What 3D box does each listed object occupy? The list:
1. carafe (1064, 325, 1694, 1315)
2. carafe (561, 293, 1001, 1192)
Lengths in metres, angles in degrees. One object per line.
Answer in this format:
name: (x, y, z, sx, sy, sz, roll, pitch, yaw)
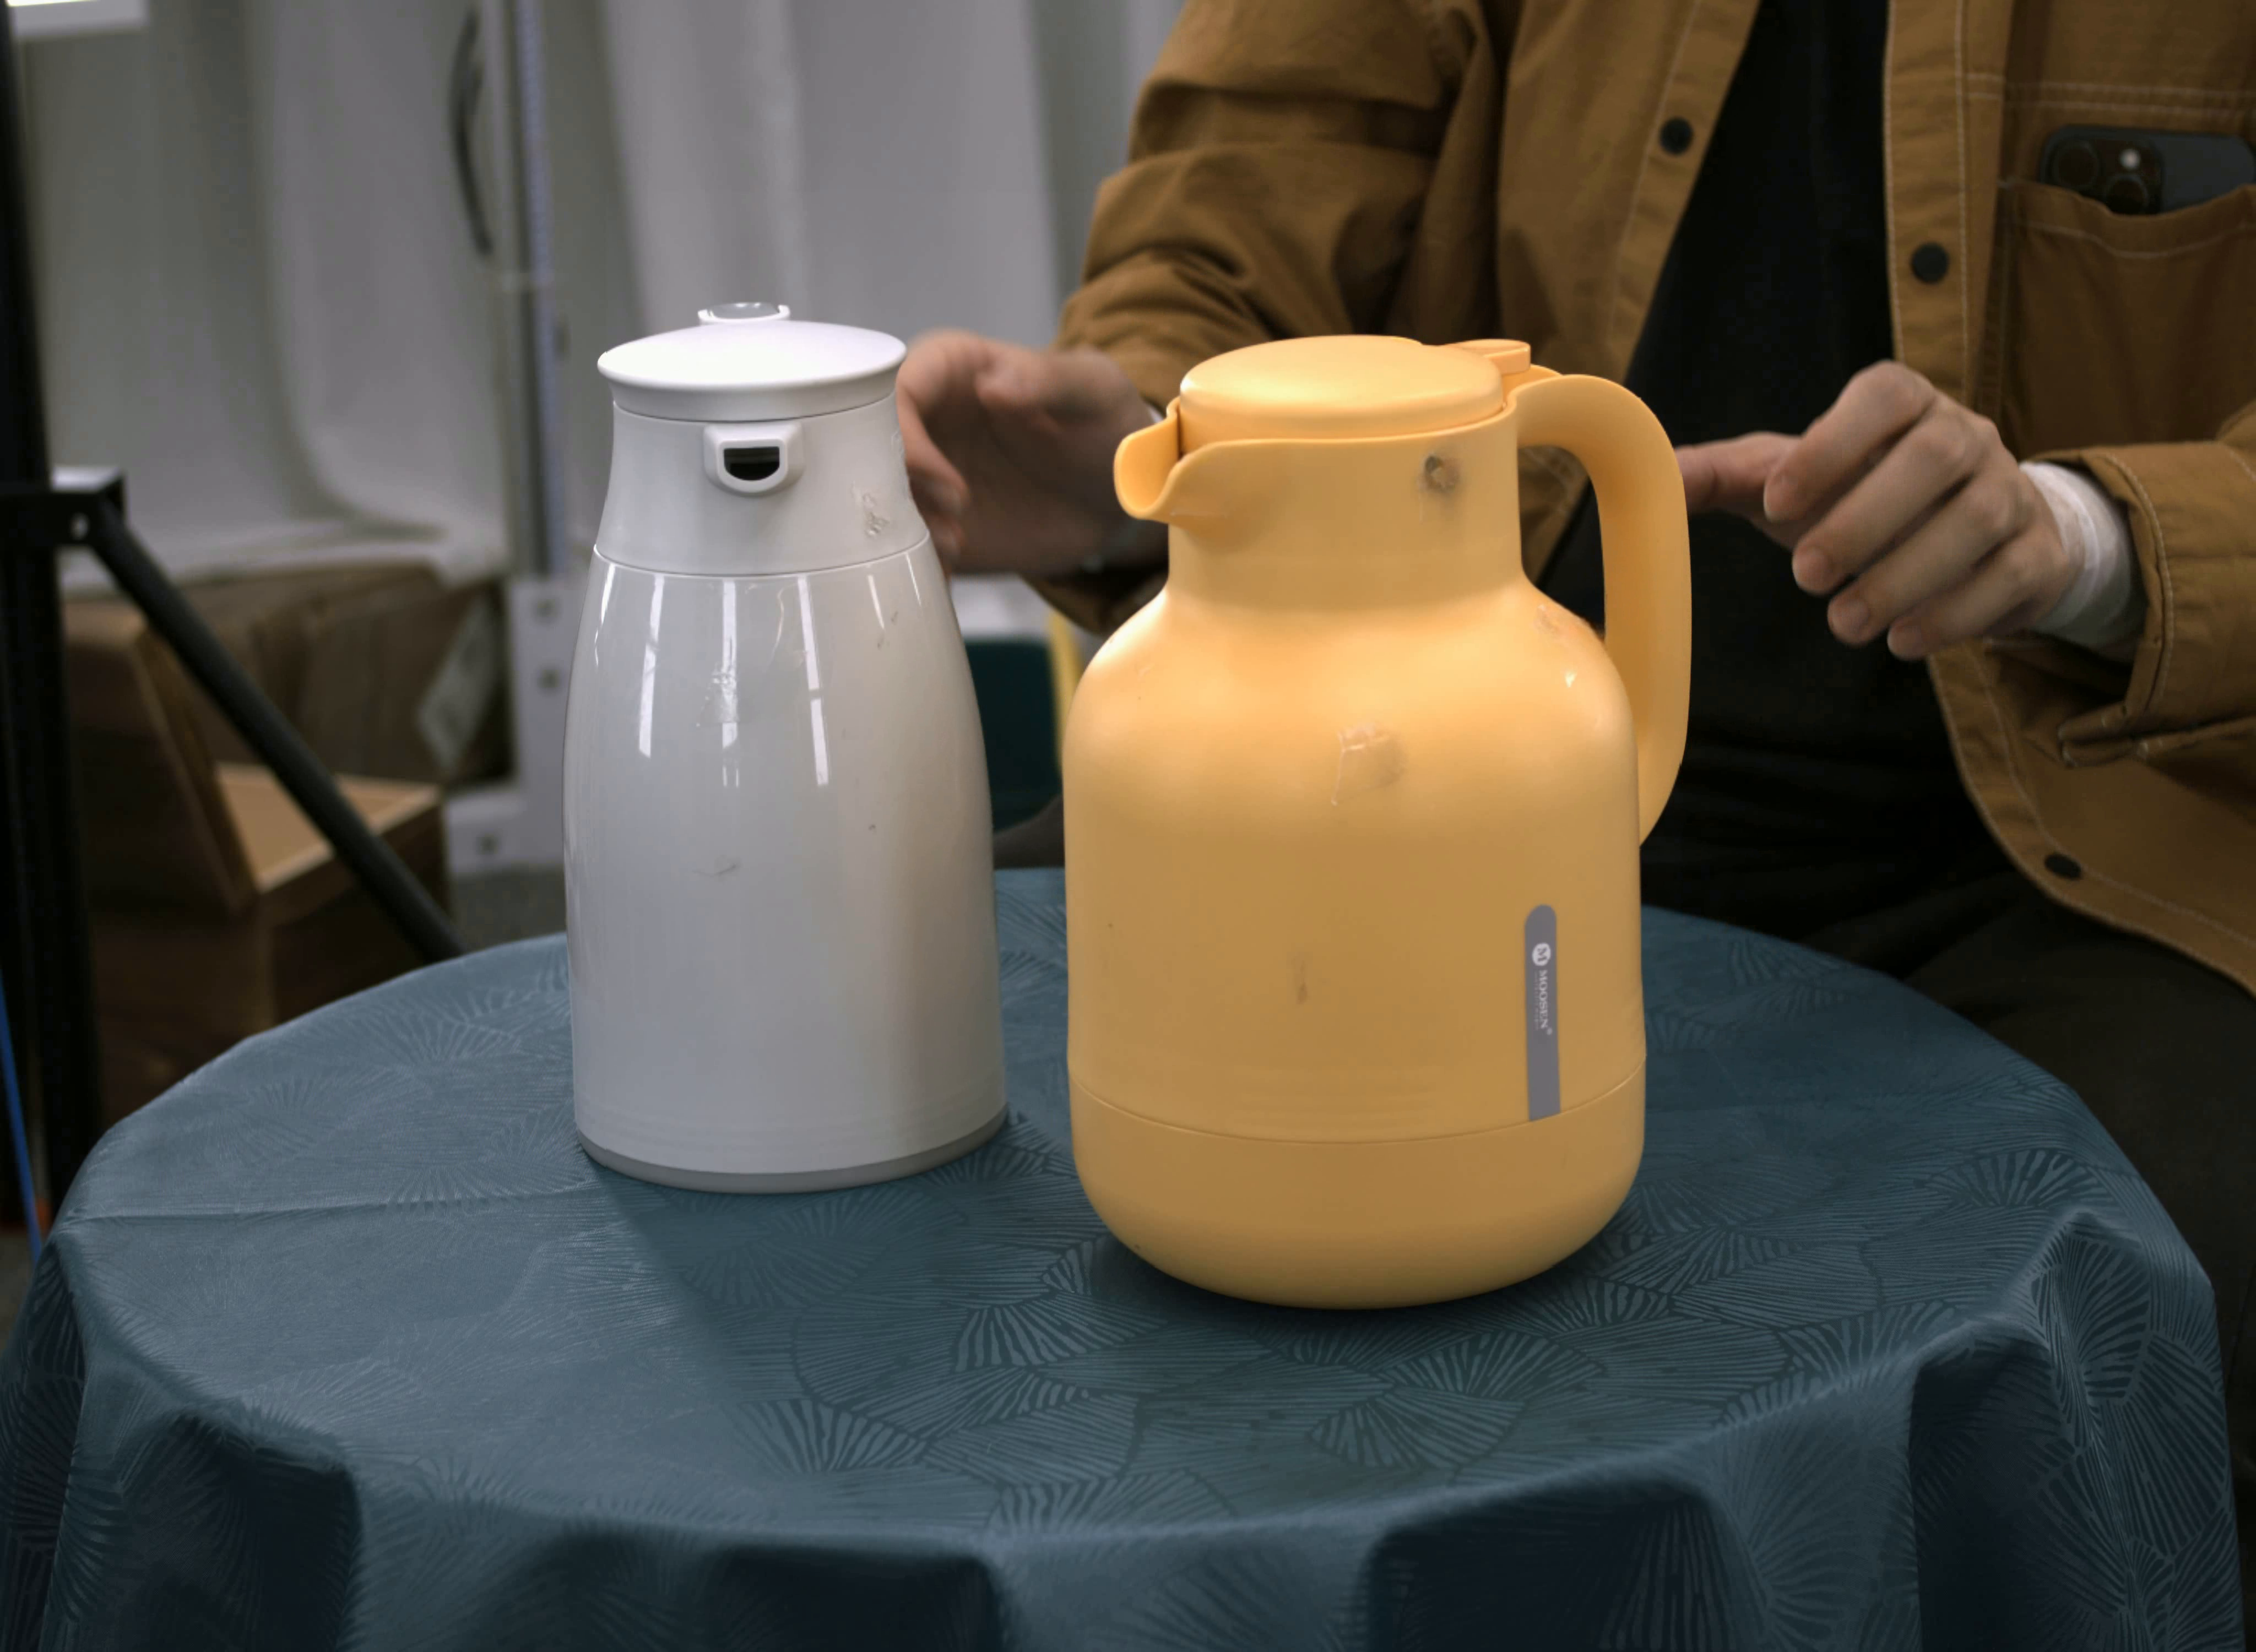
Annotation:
carafe: (0.079, -0.009, 1.480, 0.198, 0.260, 0.167, -14, 21, -33)
carafe: (-0.109, -0.033, 1.618, 0.132, 0.248, 0.169, -3, 15, -2)
